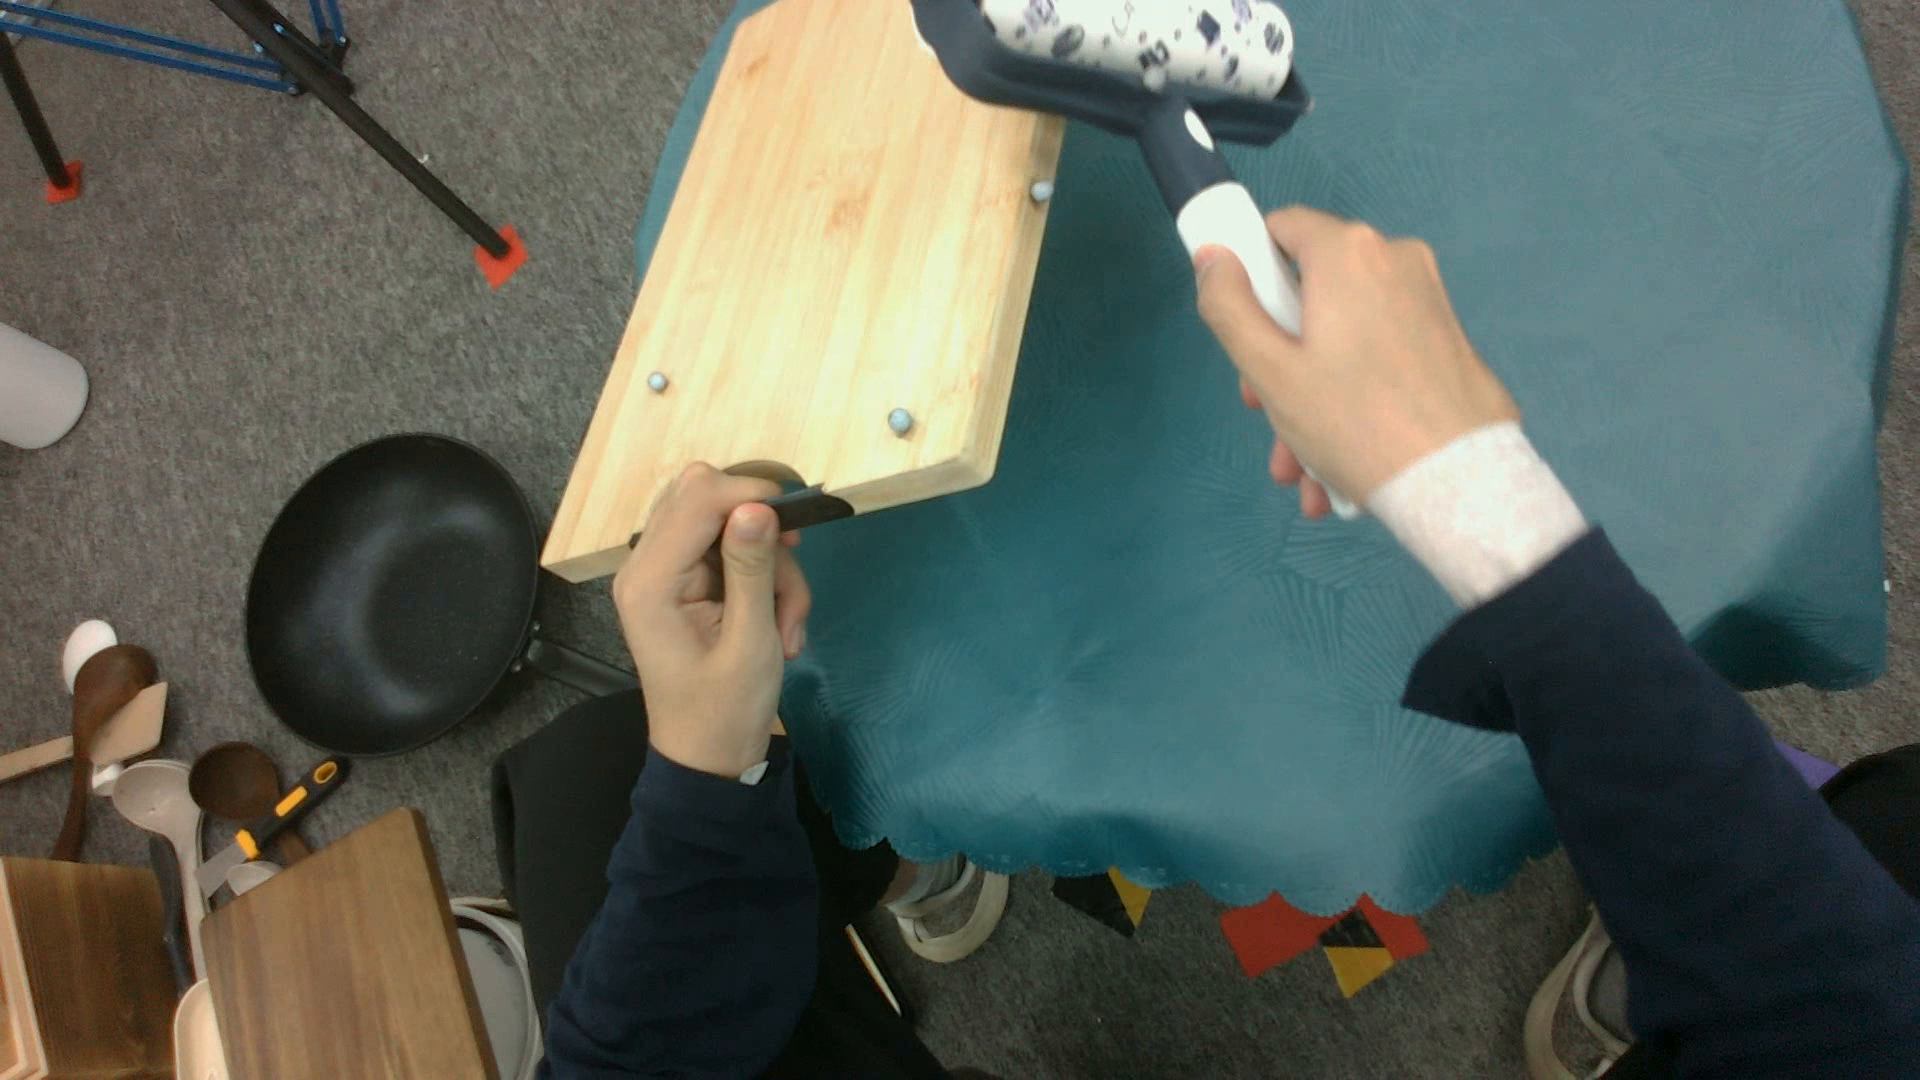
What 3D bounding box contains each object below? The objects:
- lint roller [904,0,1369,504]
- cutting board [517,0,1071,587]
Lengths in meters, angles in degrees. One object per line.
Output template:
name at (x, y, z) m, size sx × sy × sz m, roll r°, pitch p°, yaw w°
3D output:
lint roller at (0.091, -0.126, 0.502) m, size 0.050 × 0.177 × 0.247 m, roll -46°, pitch 60°, yaw 44°
cutting board at (-0.063, -0.151, 0.611) m, size 0.250 × 0.023 × 0.350 m, roll -13°, pitch 54°, yaw 37°
